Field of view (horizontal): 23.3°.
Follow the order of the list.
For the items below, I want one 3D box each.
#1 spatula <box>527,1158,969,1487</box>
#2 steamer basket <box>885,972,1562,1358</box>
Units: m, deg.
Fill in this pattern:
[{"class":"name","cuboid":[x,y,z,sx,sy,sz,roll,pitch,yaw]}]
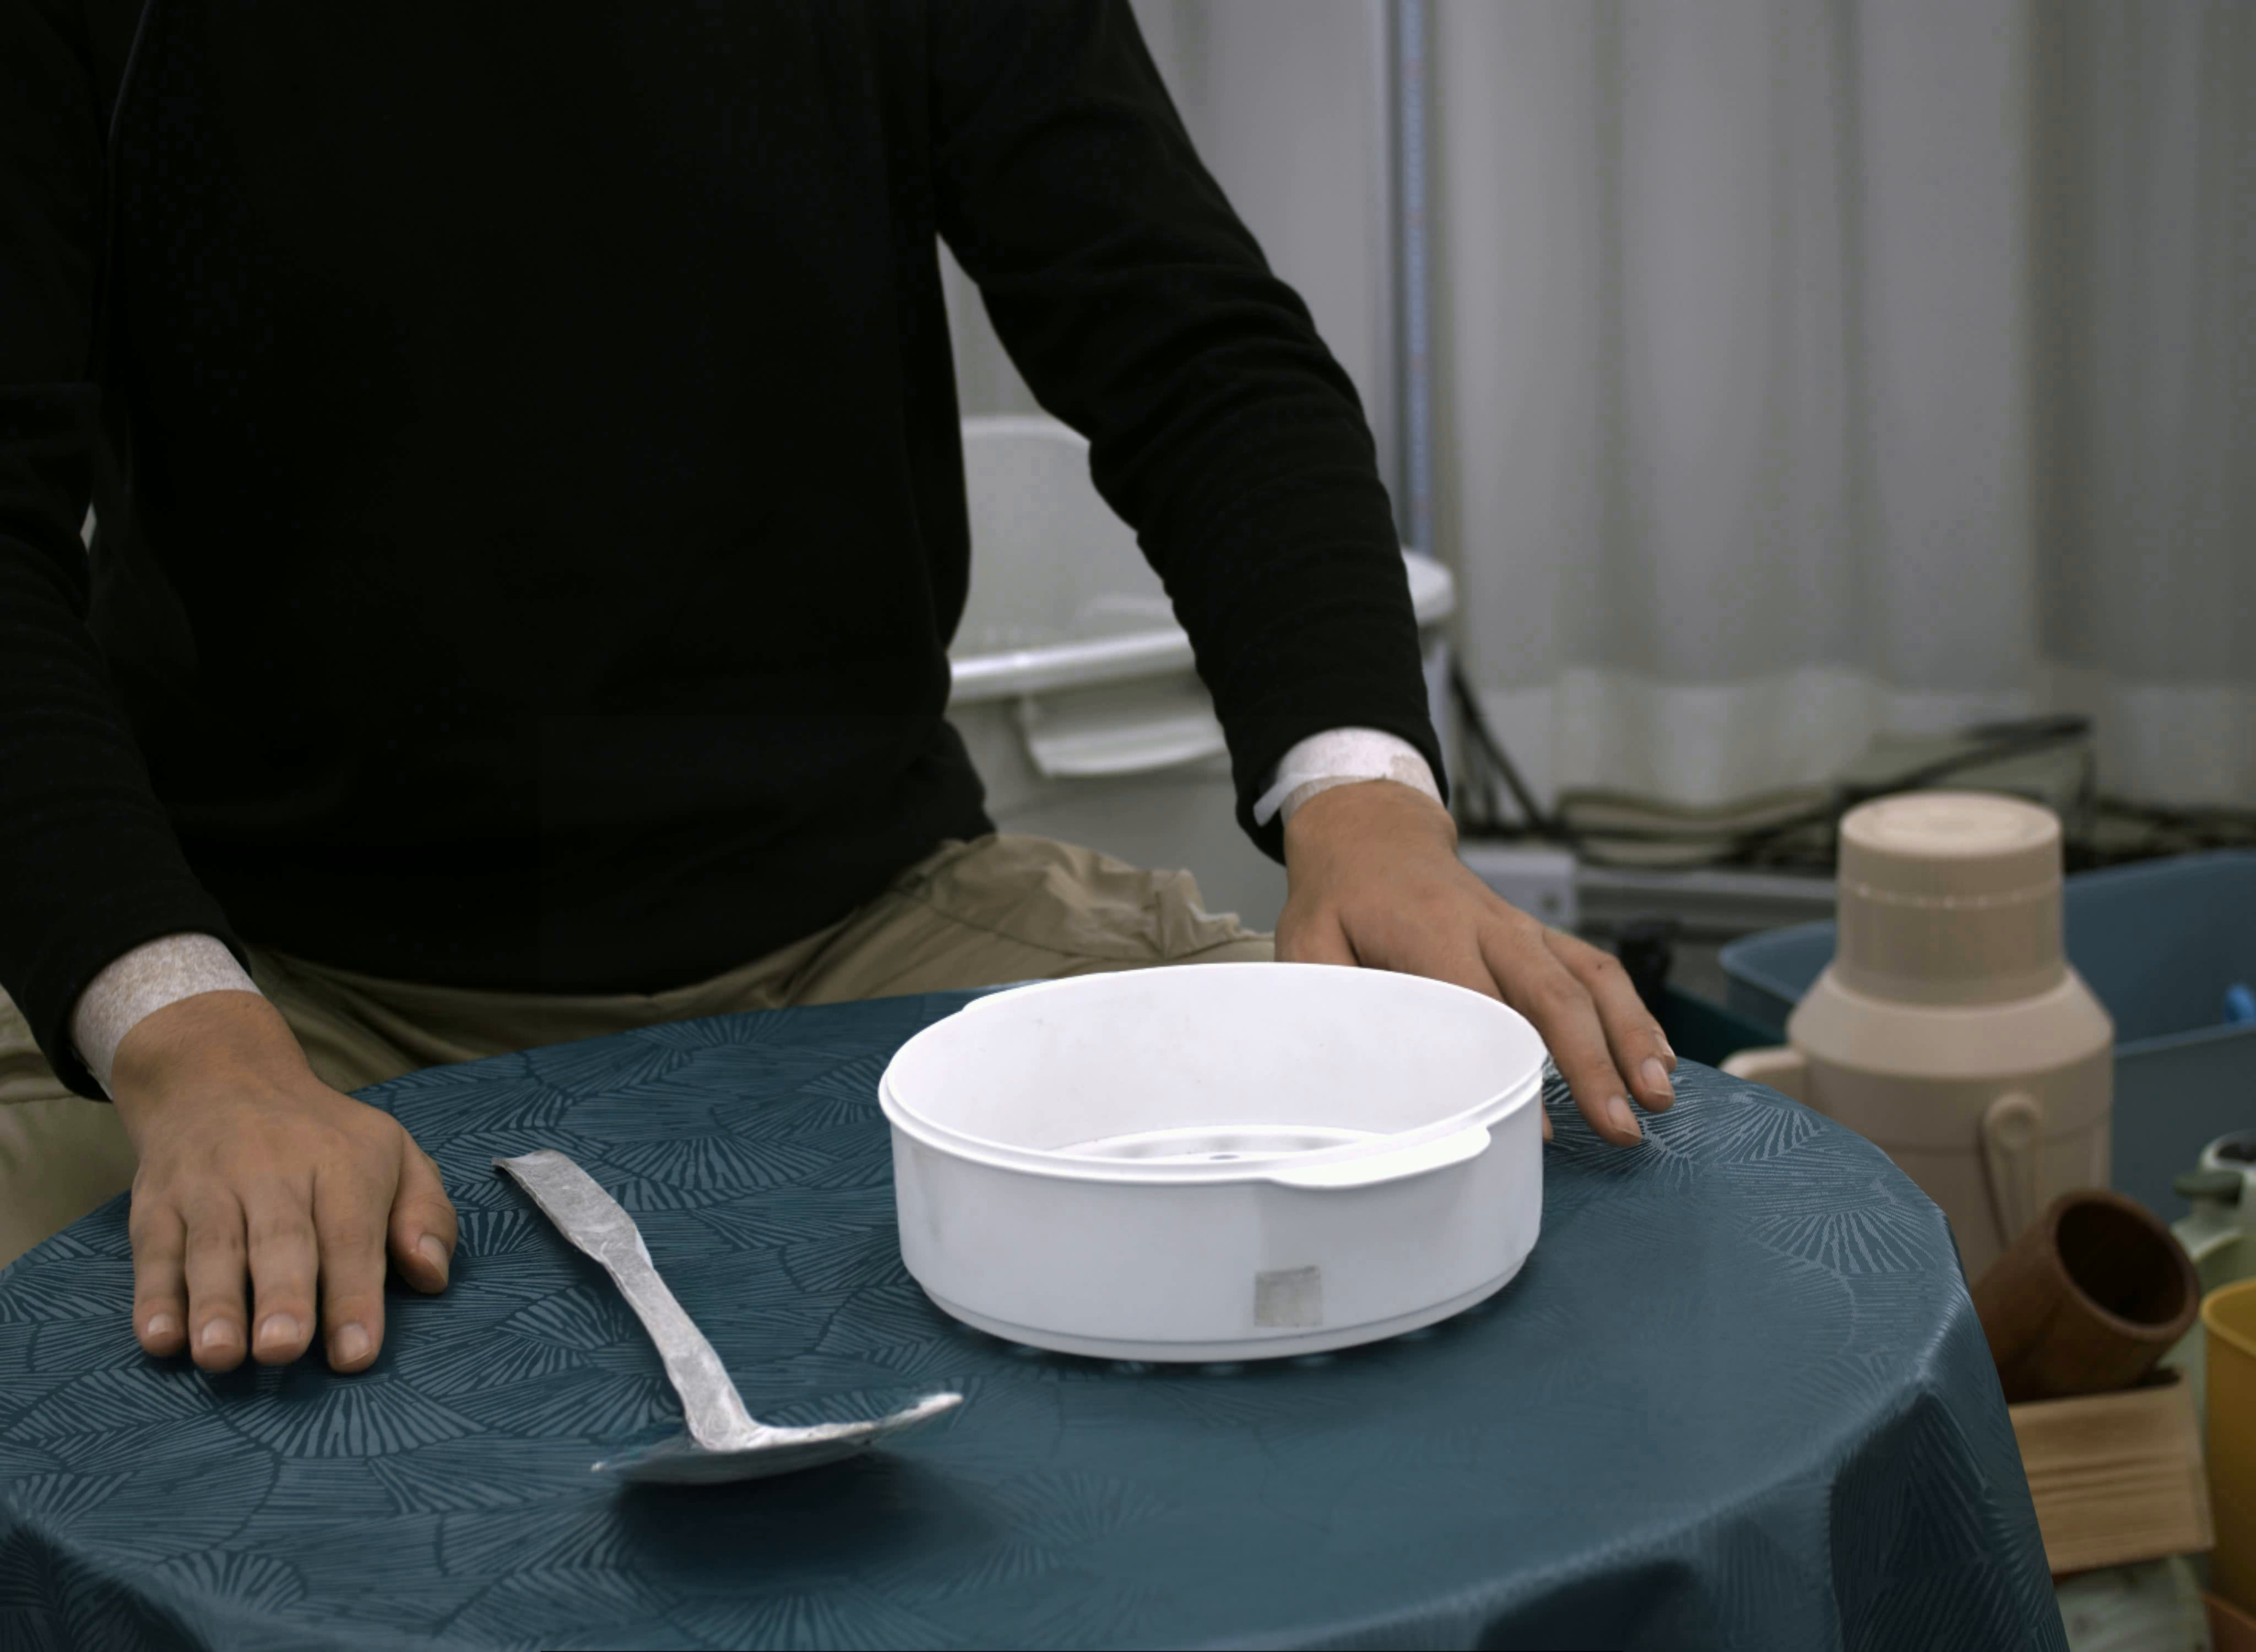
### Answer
[{"class":"spatula","cuboid":[-0.135,0.135,1.591,0.098,0.044,0.368,-9,16,-16]},{"class":"steamer basket","cuboid":[0.029,0.101,1.627,0.201,0.069,0.232,-9,15,-26]}]
